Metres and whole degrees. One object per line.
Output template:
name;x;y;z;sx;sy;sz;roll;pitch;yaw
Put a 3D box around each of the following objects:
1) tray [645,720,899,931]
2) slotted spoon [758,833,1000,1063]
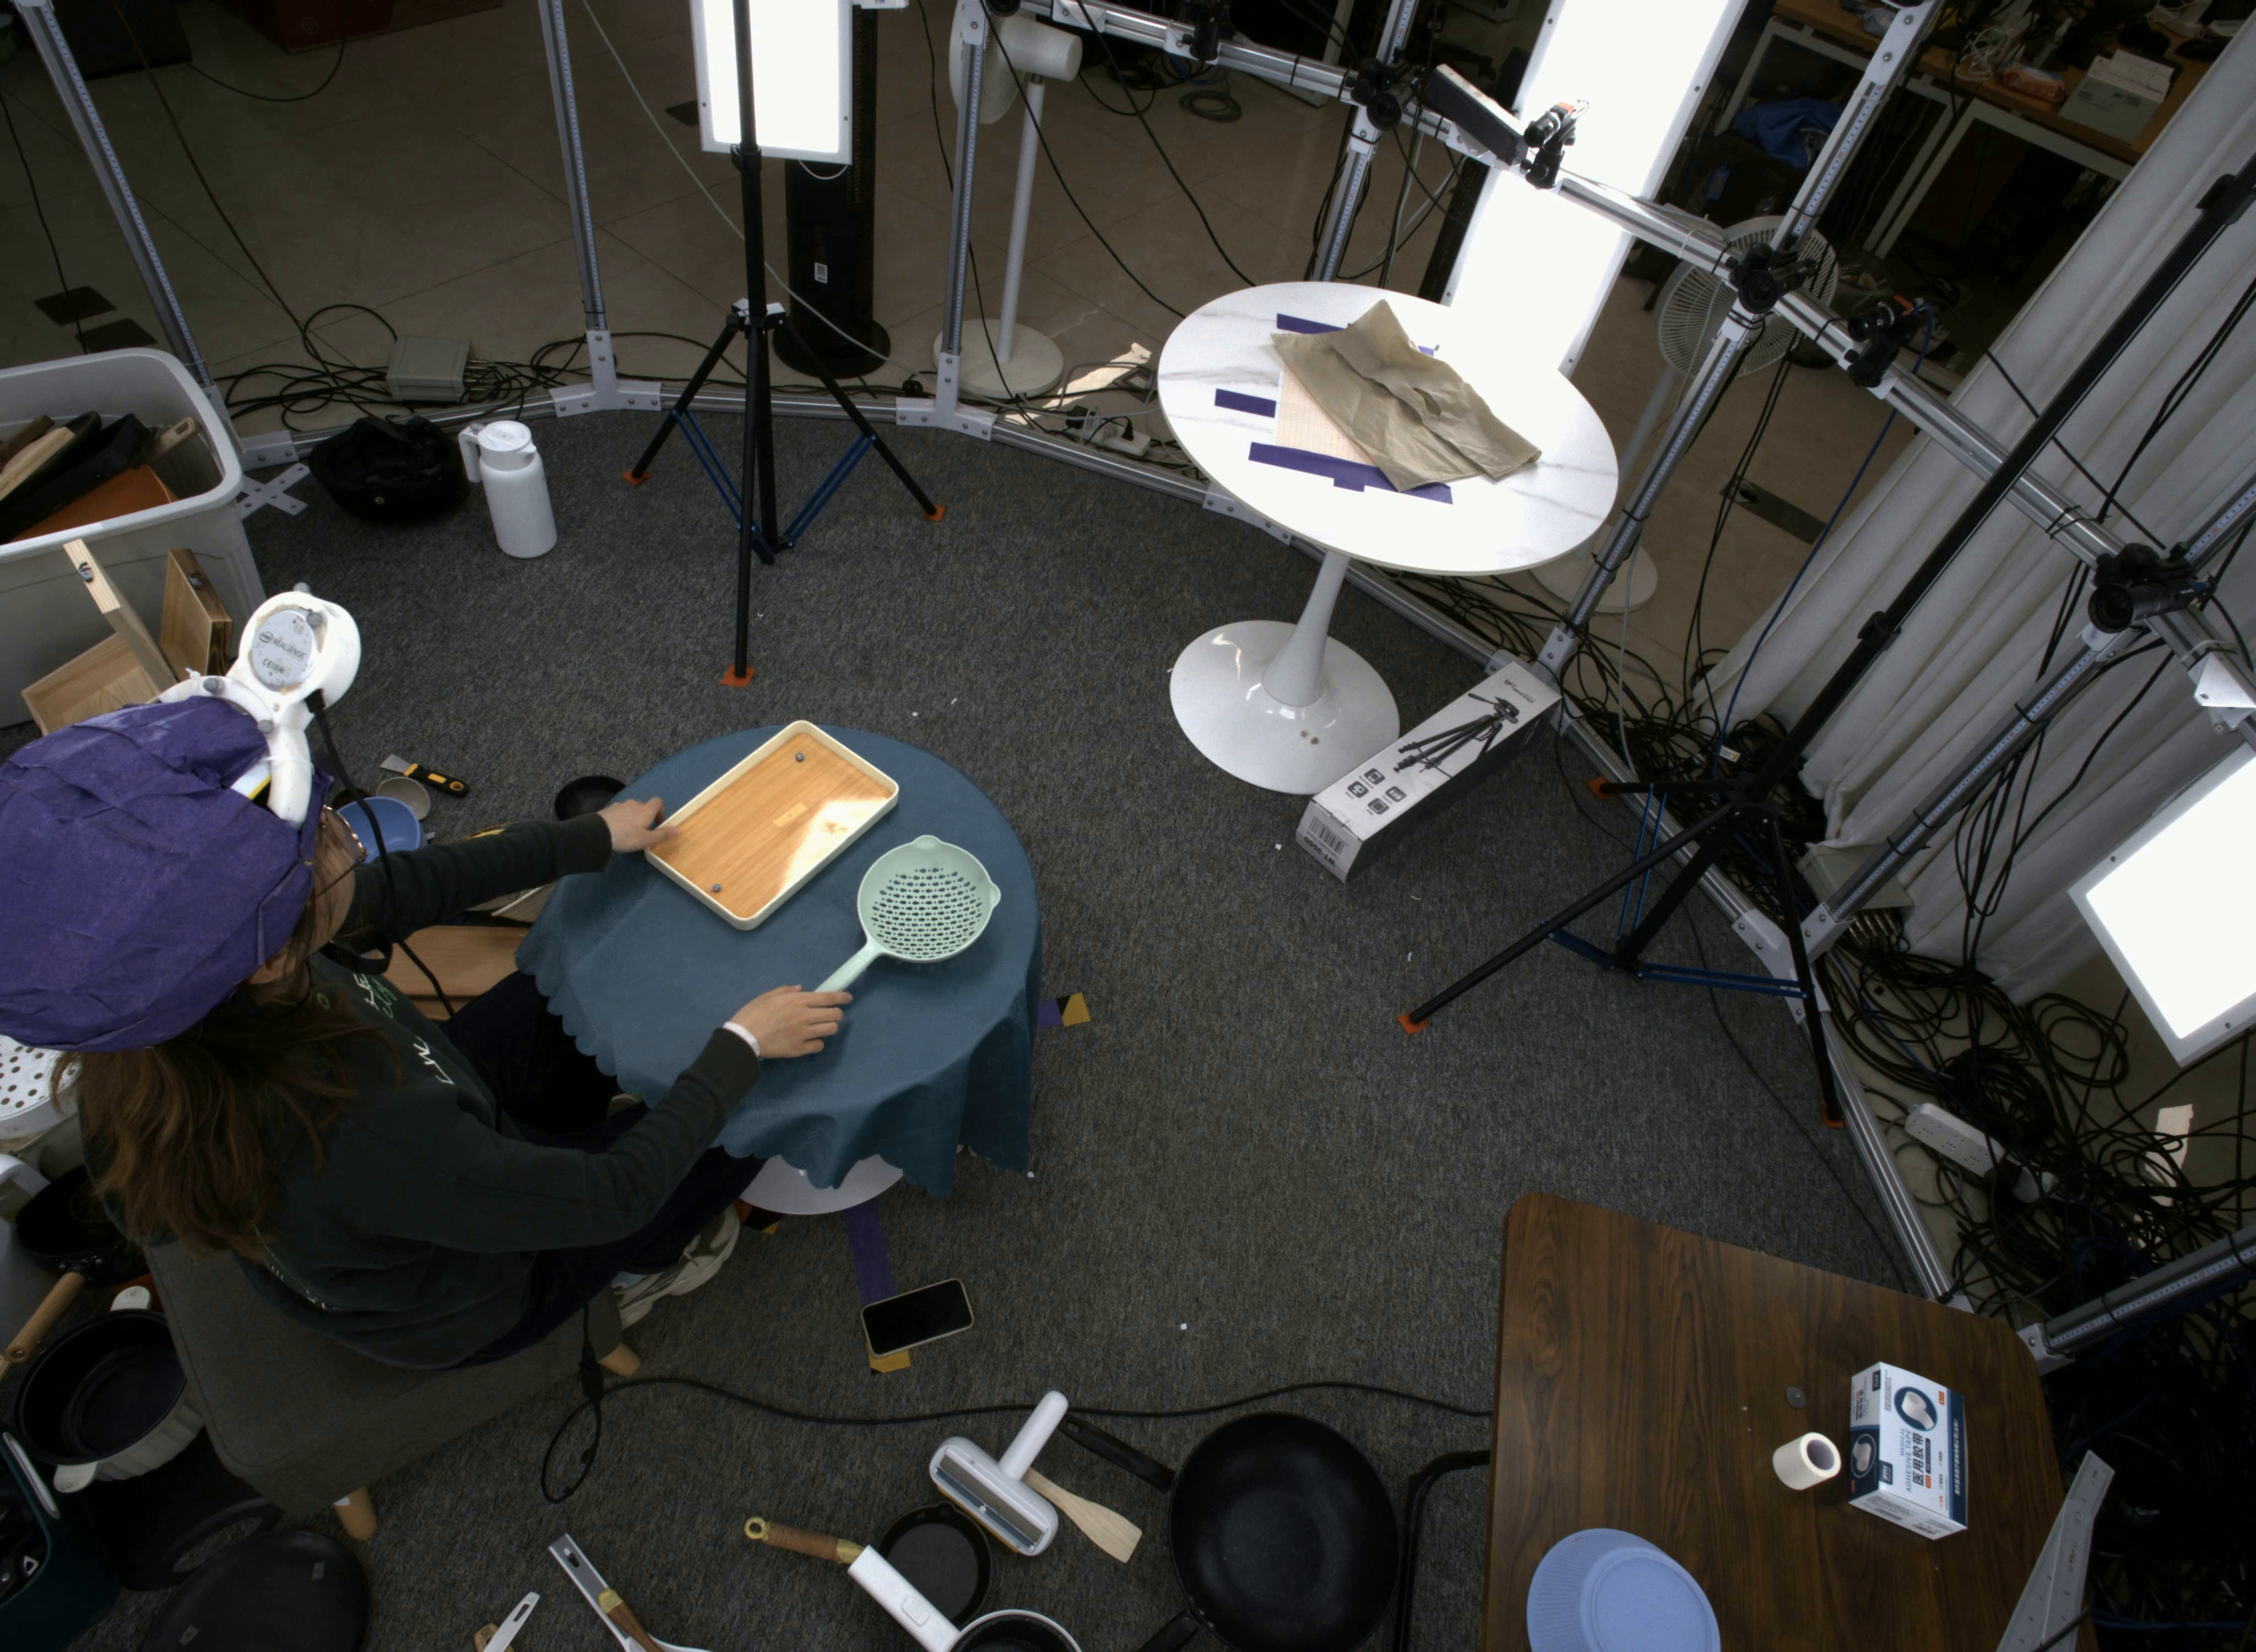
tray;-0.466;-0.009;1.708;0.188;0.028;0.300;35;53;12
slotted spoon;-0.317;0.155;1.600;0.166;0.077;0.359;38;54;16
